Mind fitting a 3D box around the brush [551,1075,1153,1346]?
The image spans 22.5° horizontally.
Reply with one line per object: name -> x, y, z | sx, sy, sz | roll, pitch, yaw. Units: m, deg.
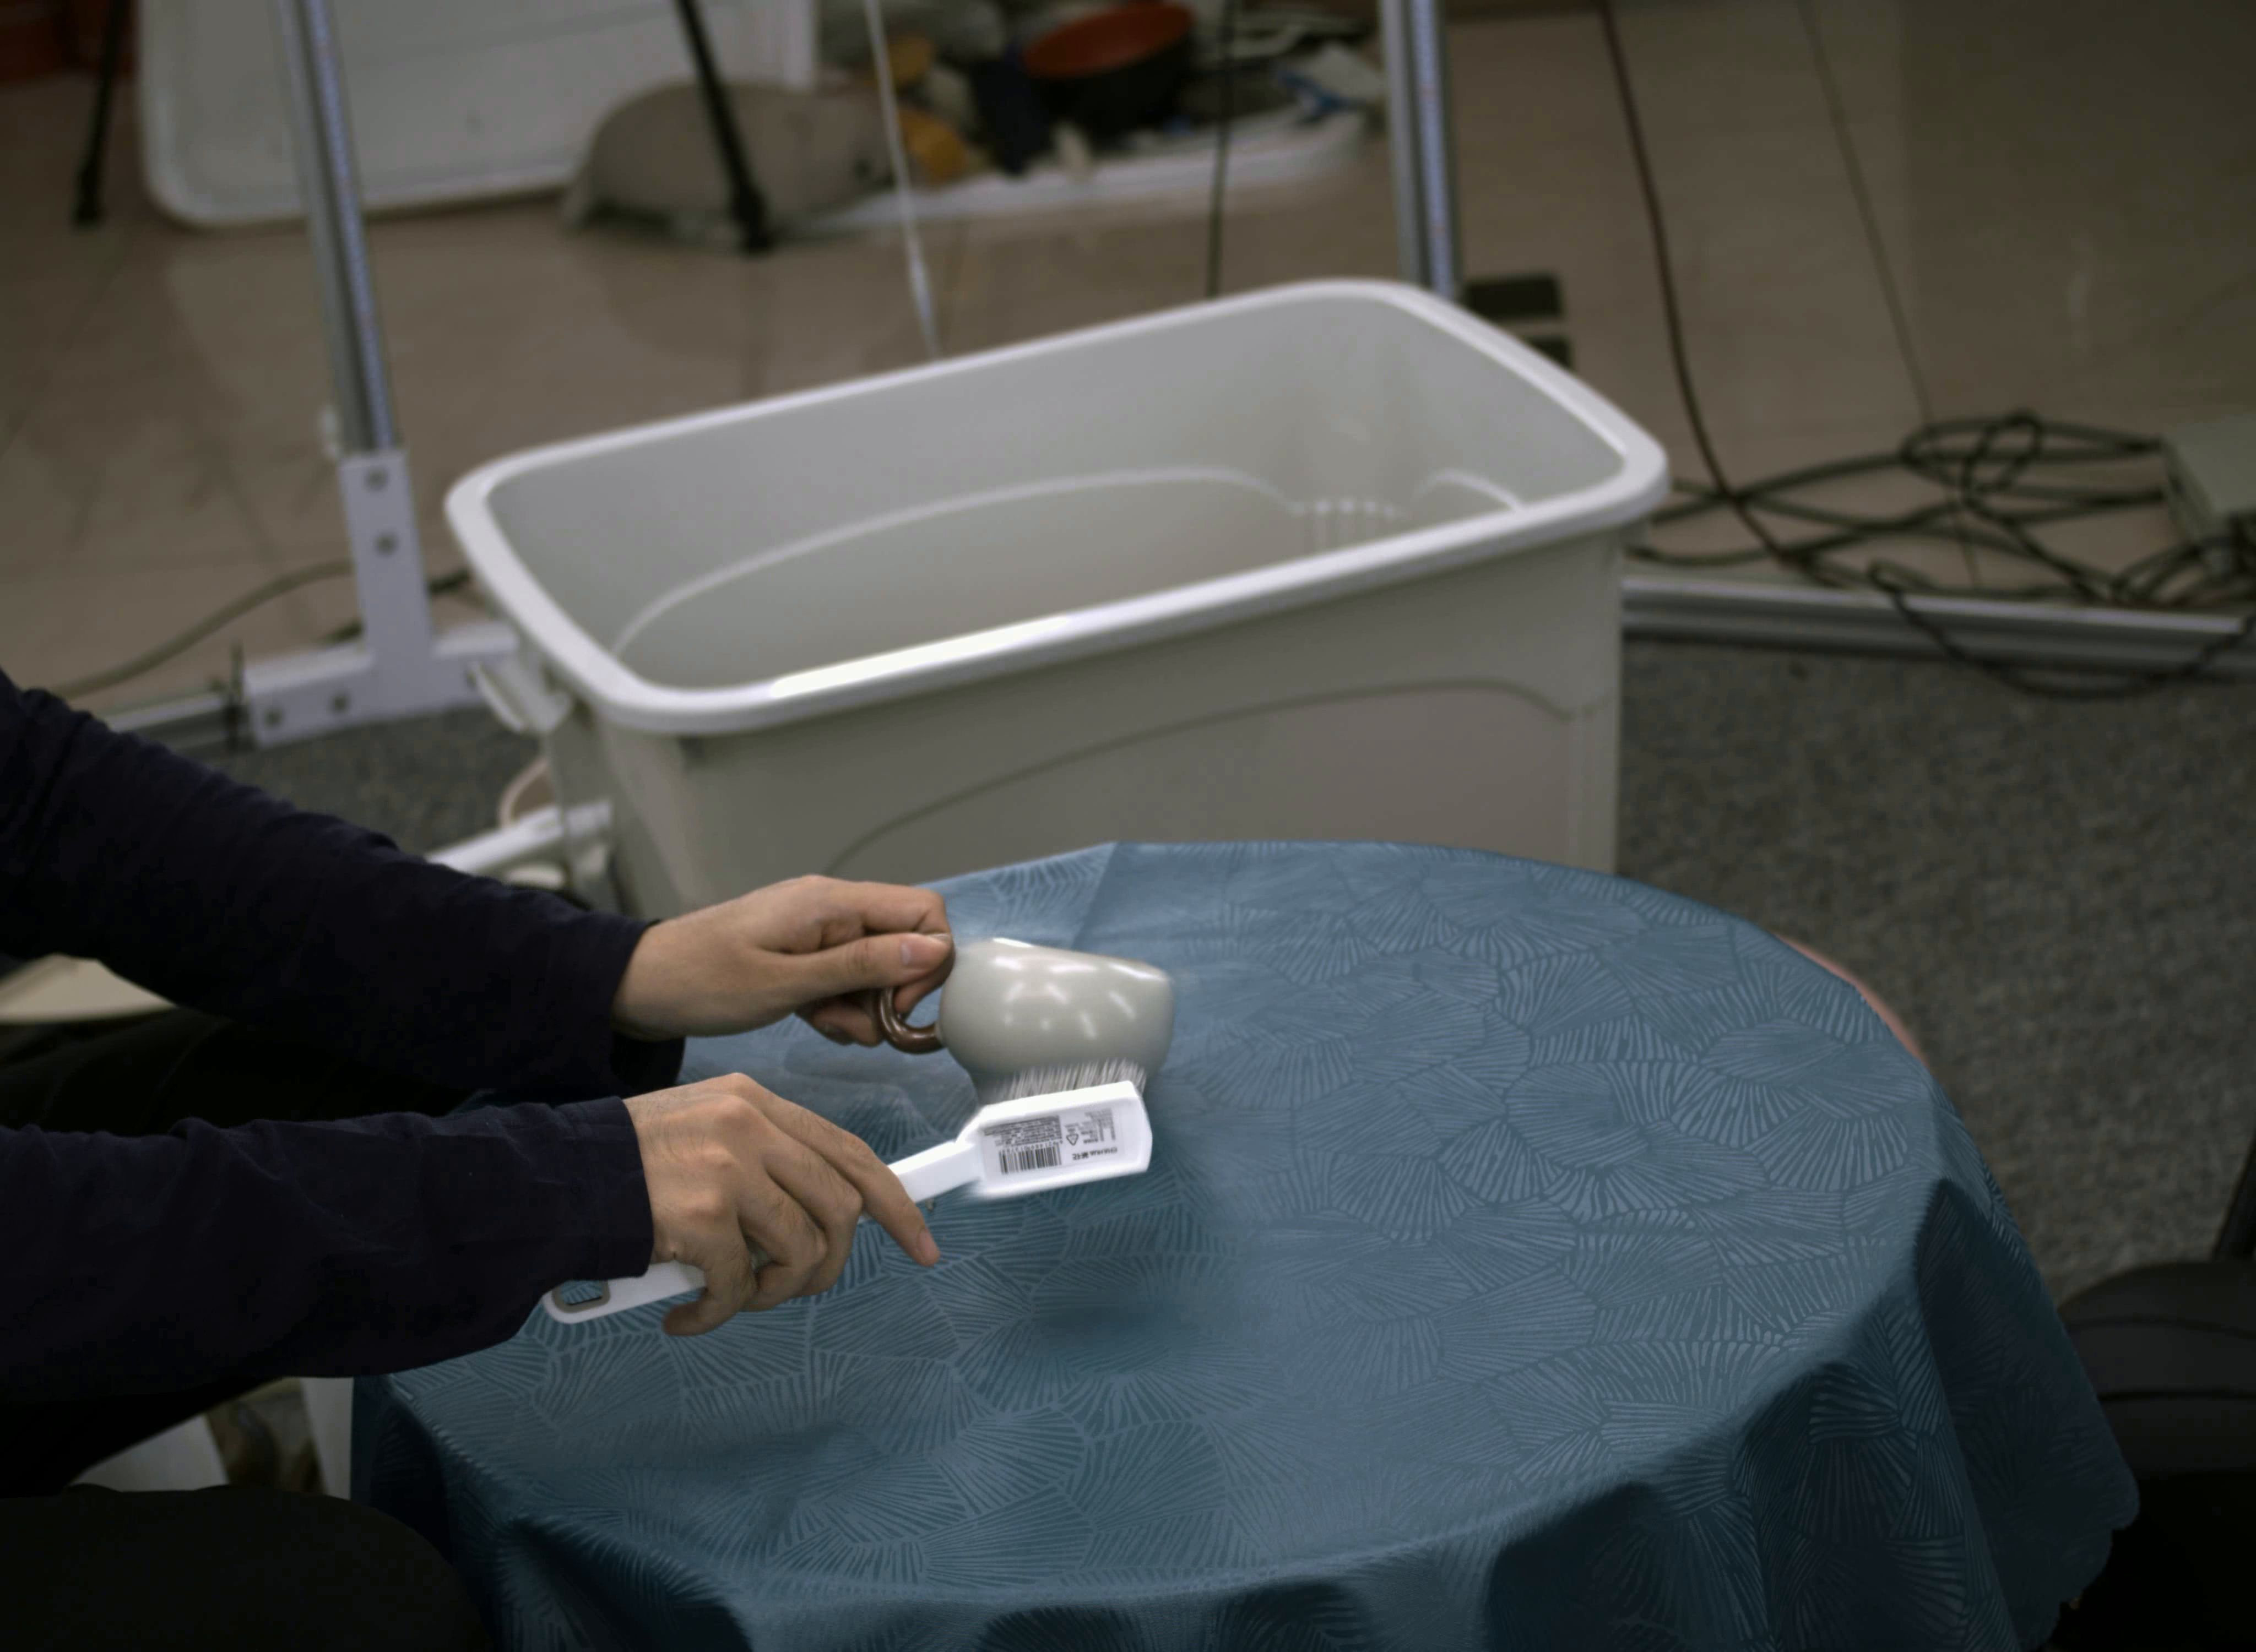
brush -> -0.098, 0.137, 2.023 | 0.242, 0.034, 0.050 | -18, 5, -22

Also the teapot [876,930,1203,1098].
teapot -> -0.036, 0.075, 2.202 | 0.127, 0.060, 0.092 | 10, 2, 11
